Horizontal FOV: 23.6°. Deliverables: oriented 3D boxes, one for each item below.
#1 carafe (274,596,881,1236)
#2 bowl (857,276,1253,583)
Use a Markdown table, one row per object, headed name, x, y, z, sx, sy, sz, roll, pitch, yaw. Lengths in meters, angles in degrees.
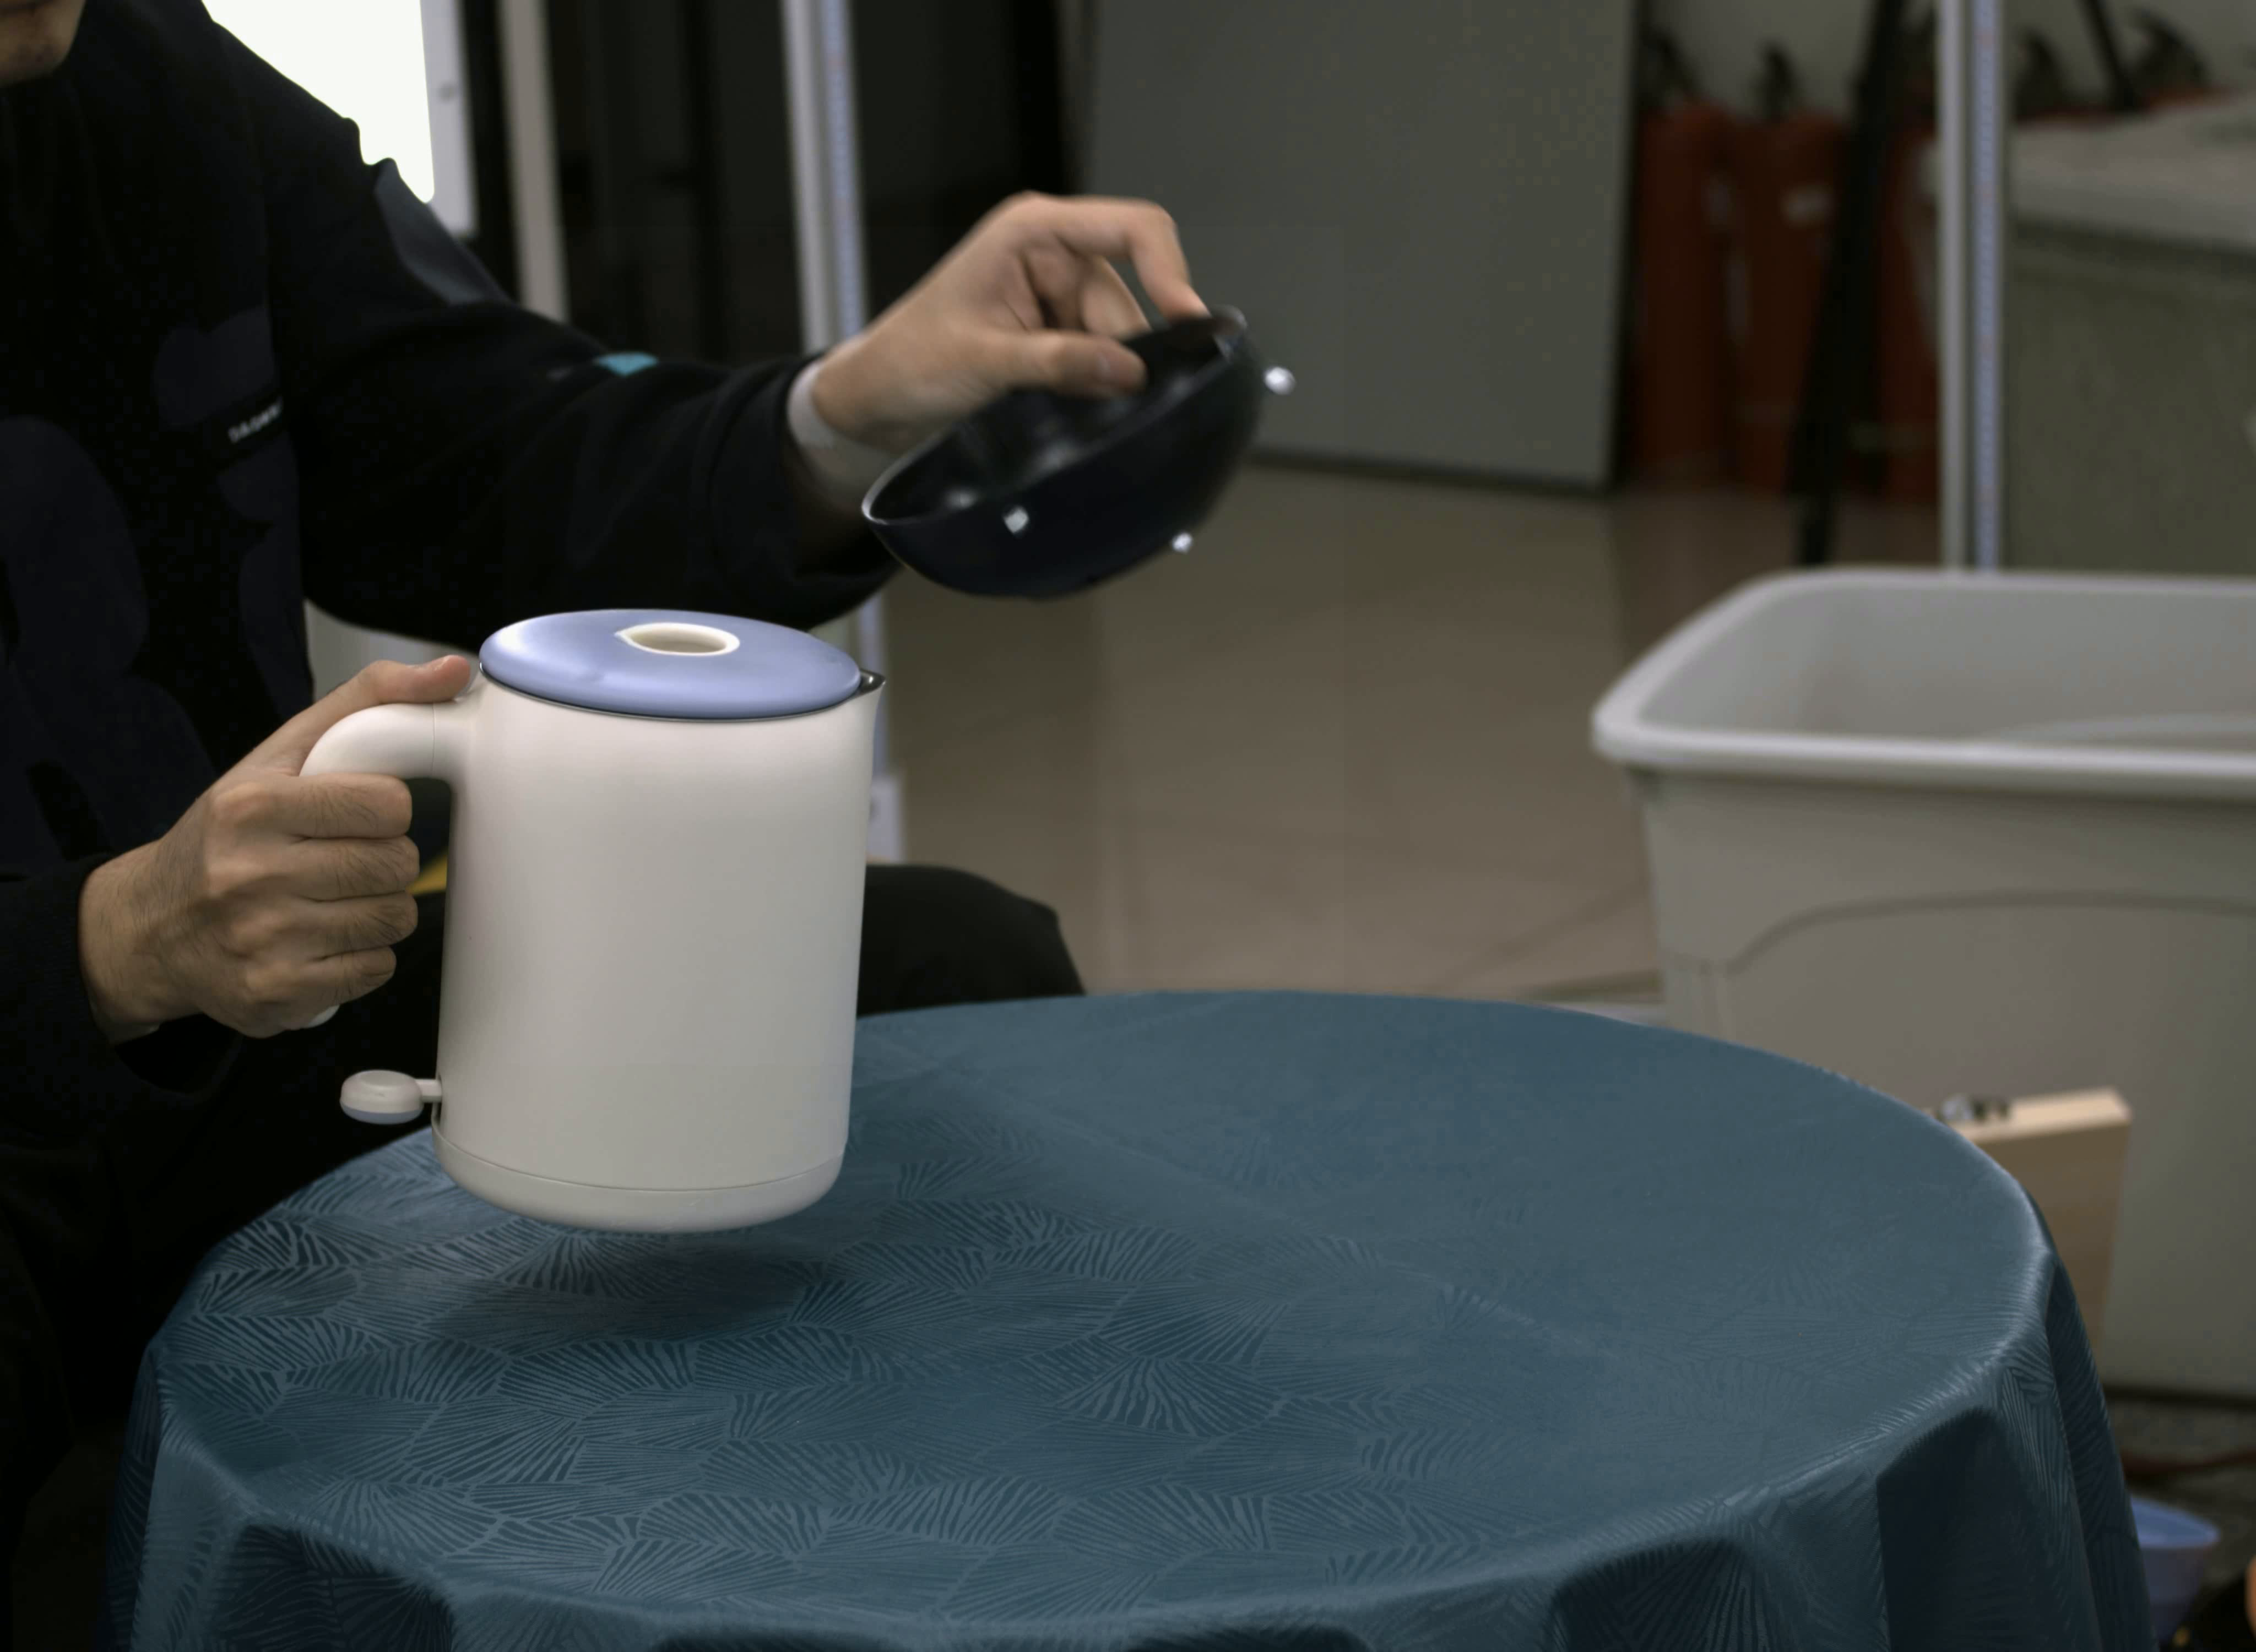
| name | x | y | z | sx | sy | sz | roll | pitch | yaw |
| --- | --- | --- | --- | --- | --- | --- | --- | --- | --- |
| carafe | -0.170 | 0.028 | 1.676 | 0.187 | 0.184 | 0.133 | -2 | 14 | -15 |
| bowl | -0.015 | -0.116 | 1.703 | 0.139 | 0.050 | 0.140 | -30 | 14 | 7 |
